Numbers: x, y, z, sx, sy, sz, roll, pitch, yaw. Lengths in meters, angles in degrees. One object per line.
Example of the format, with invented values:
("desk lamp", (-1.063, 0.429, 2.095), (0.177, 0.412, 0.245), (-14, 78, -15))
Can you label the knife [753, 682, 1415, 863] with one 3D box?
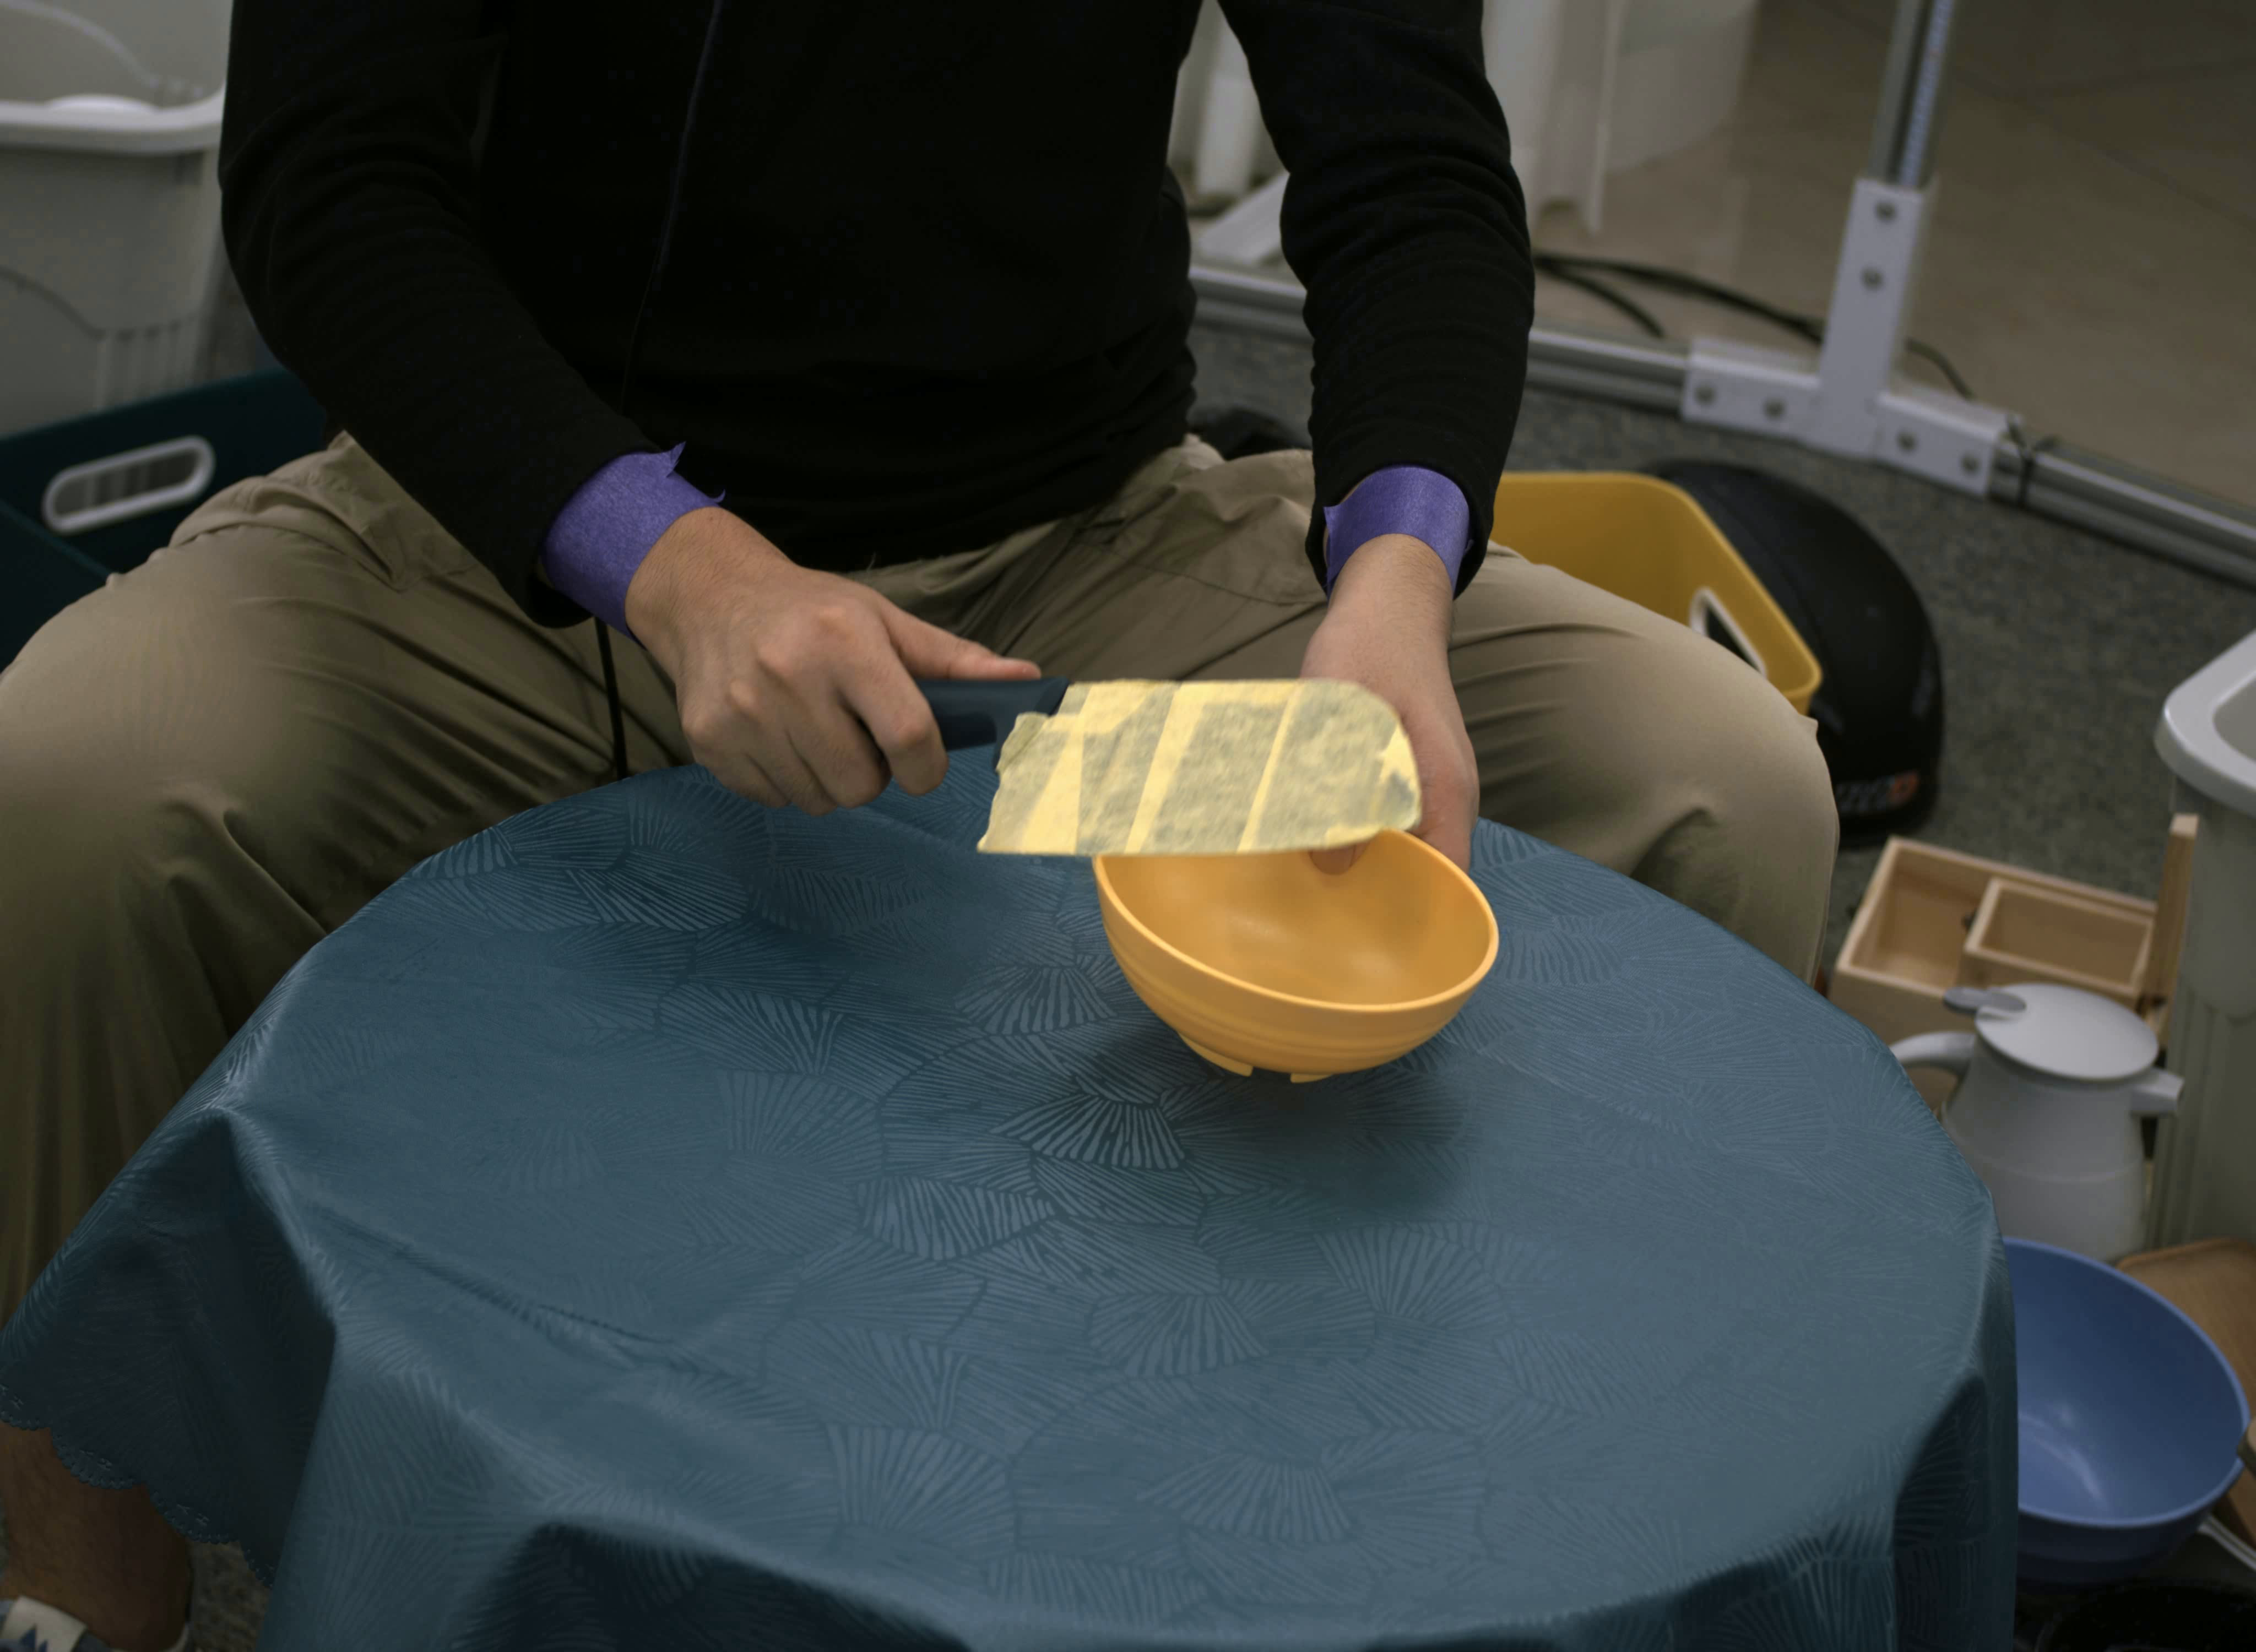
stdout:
("knife", (-0.021, -0.019, 1.872), (0.291, 0.027, 0.081), (1, 53, 36))

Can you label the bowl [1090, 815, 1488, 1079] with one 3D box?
("bowl", (0.050, 0.047, 1.873), (0.145, 0.060, 0.146), (12, 28, -7))
